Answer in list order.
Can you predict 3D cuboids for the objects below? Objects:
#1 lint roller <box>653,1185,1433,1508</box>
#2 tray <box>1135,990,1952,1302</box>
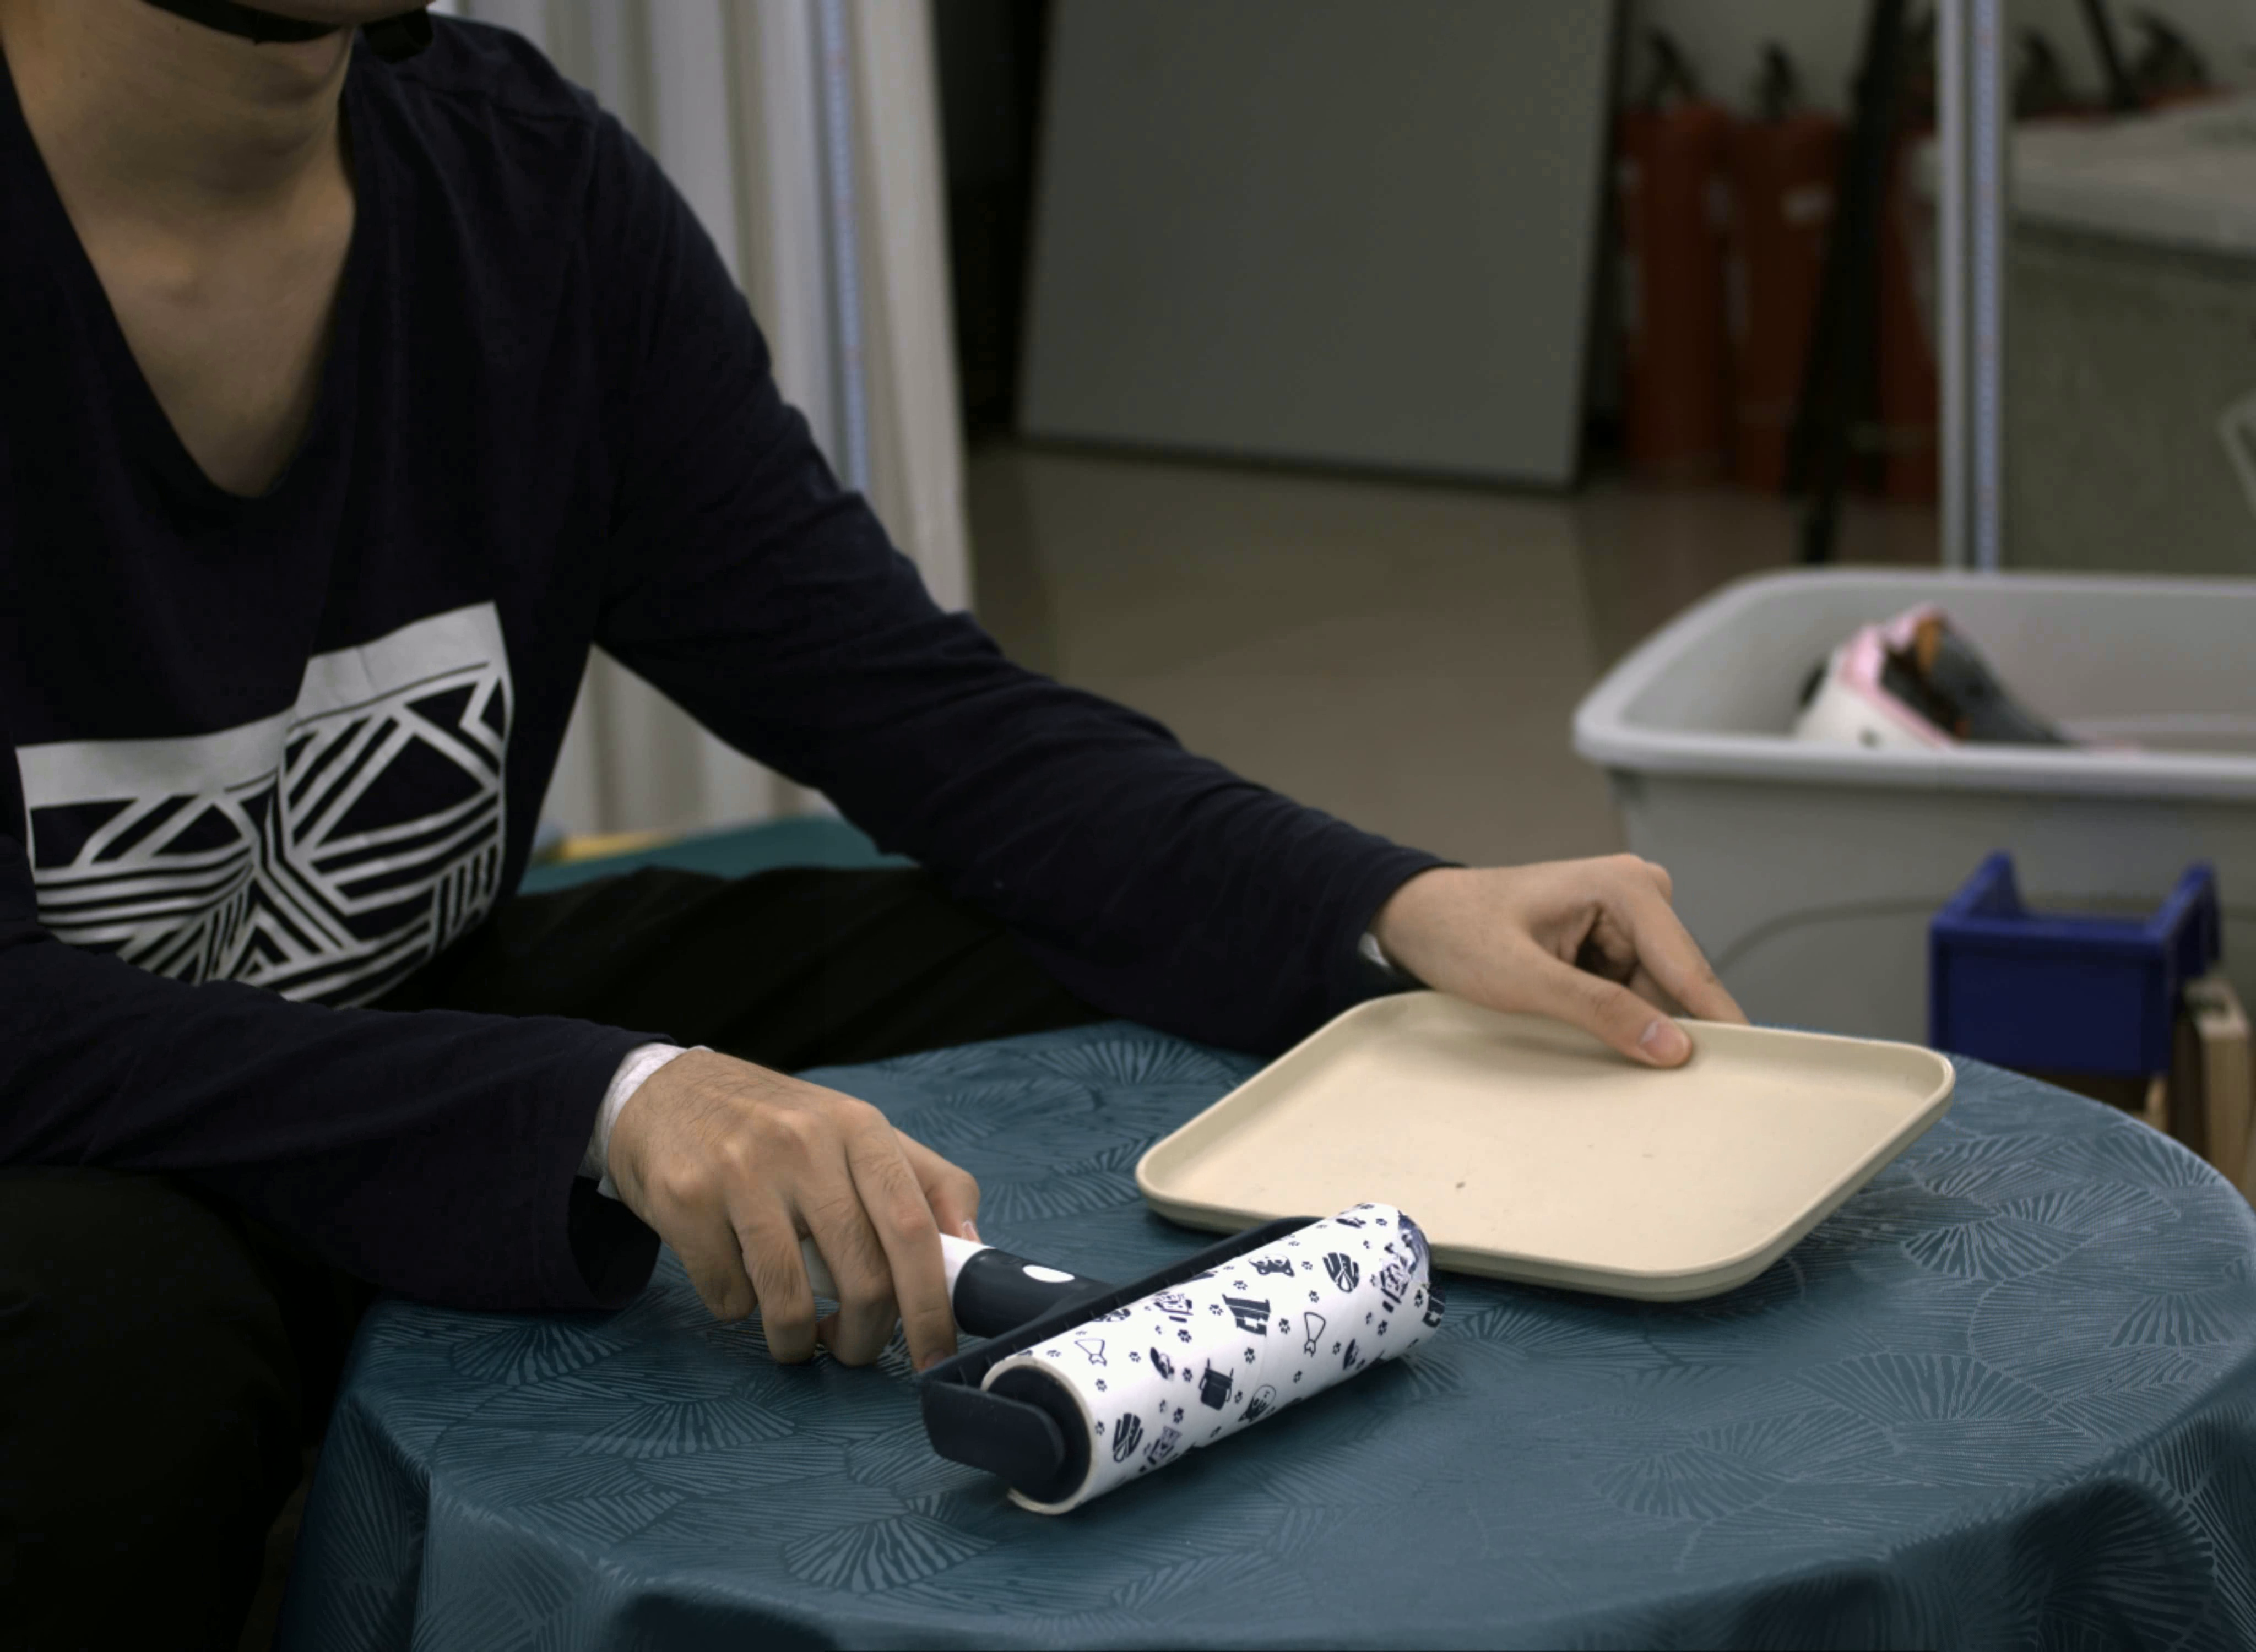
[{"bbox_3d":[-0.053,0.137,1.609,0.249,0.051,0.173,9,19,40],"label":"lint roller"},{"bbox_3d":[0.133,0.101,1.724,0.241,0.017,0.168,5,26,40],"label":"tray"}]
